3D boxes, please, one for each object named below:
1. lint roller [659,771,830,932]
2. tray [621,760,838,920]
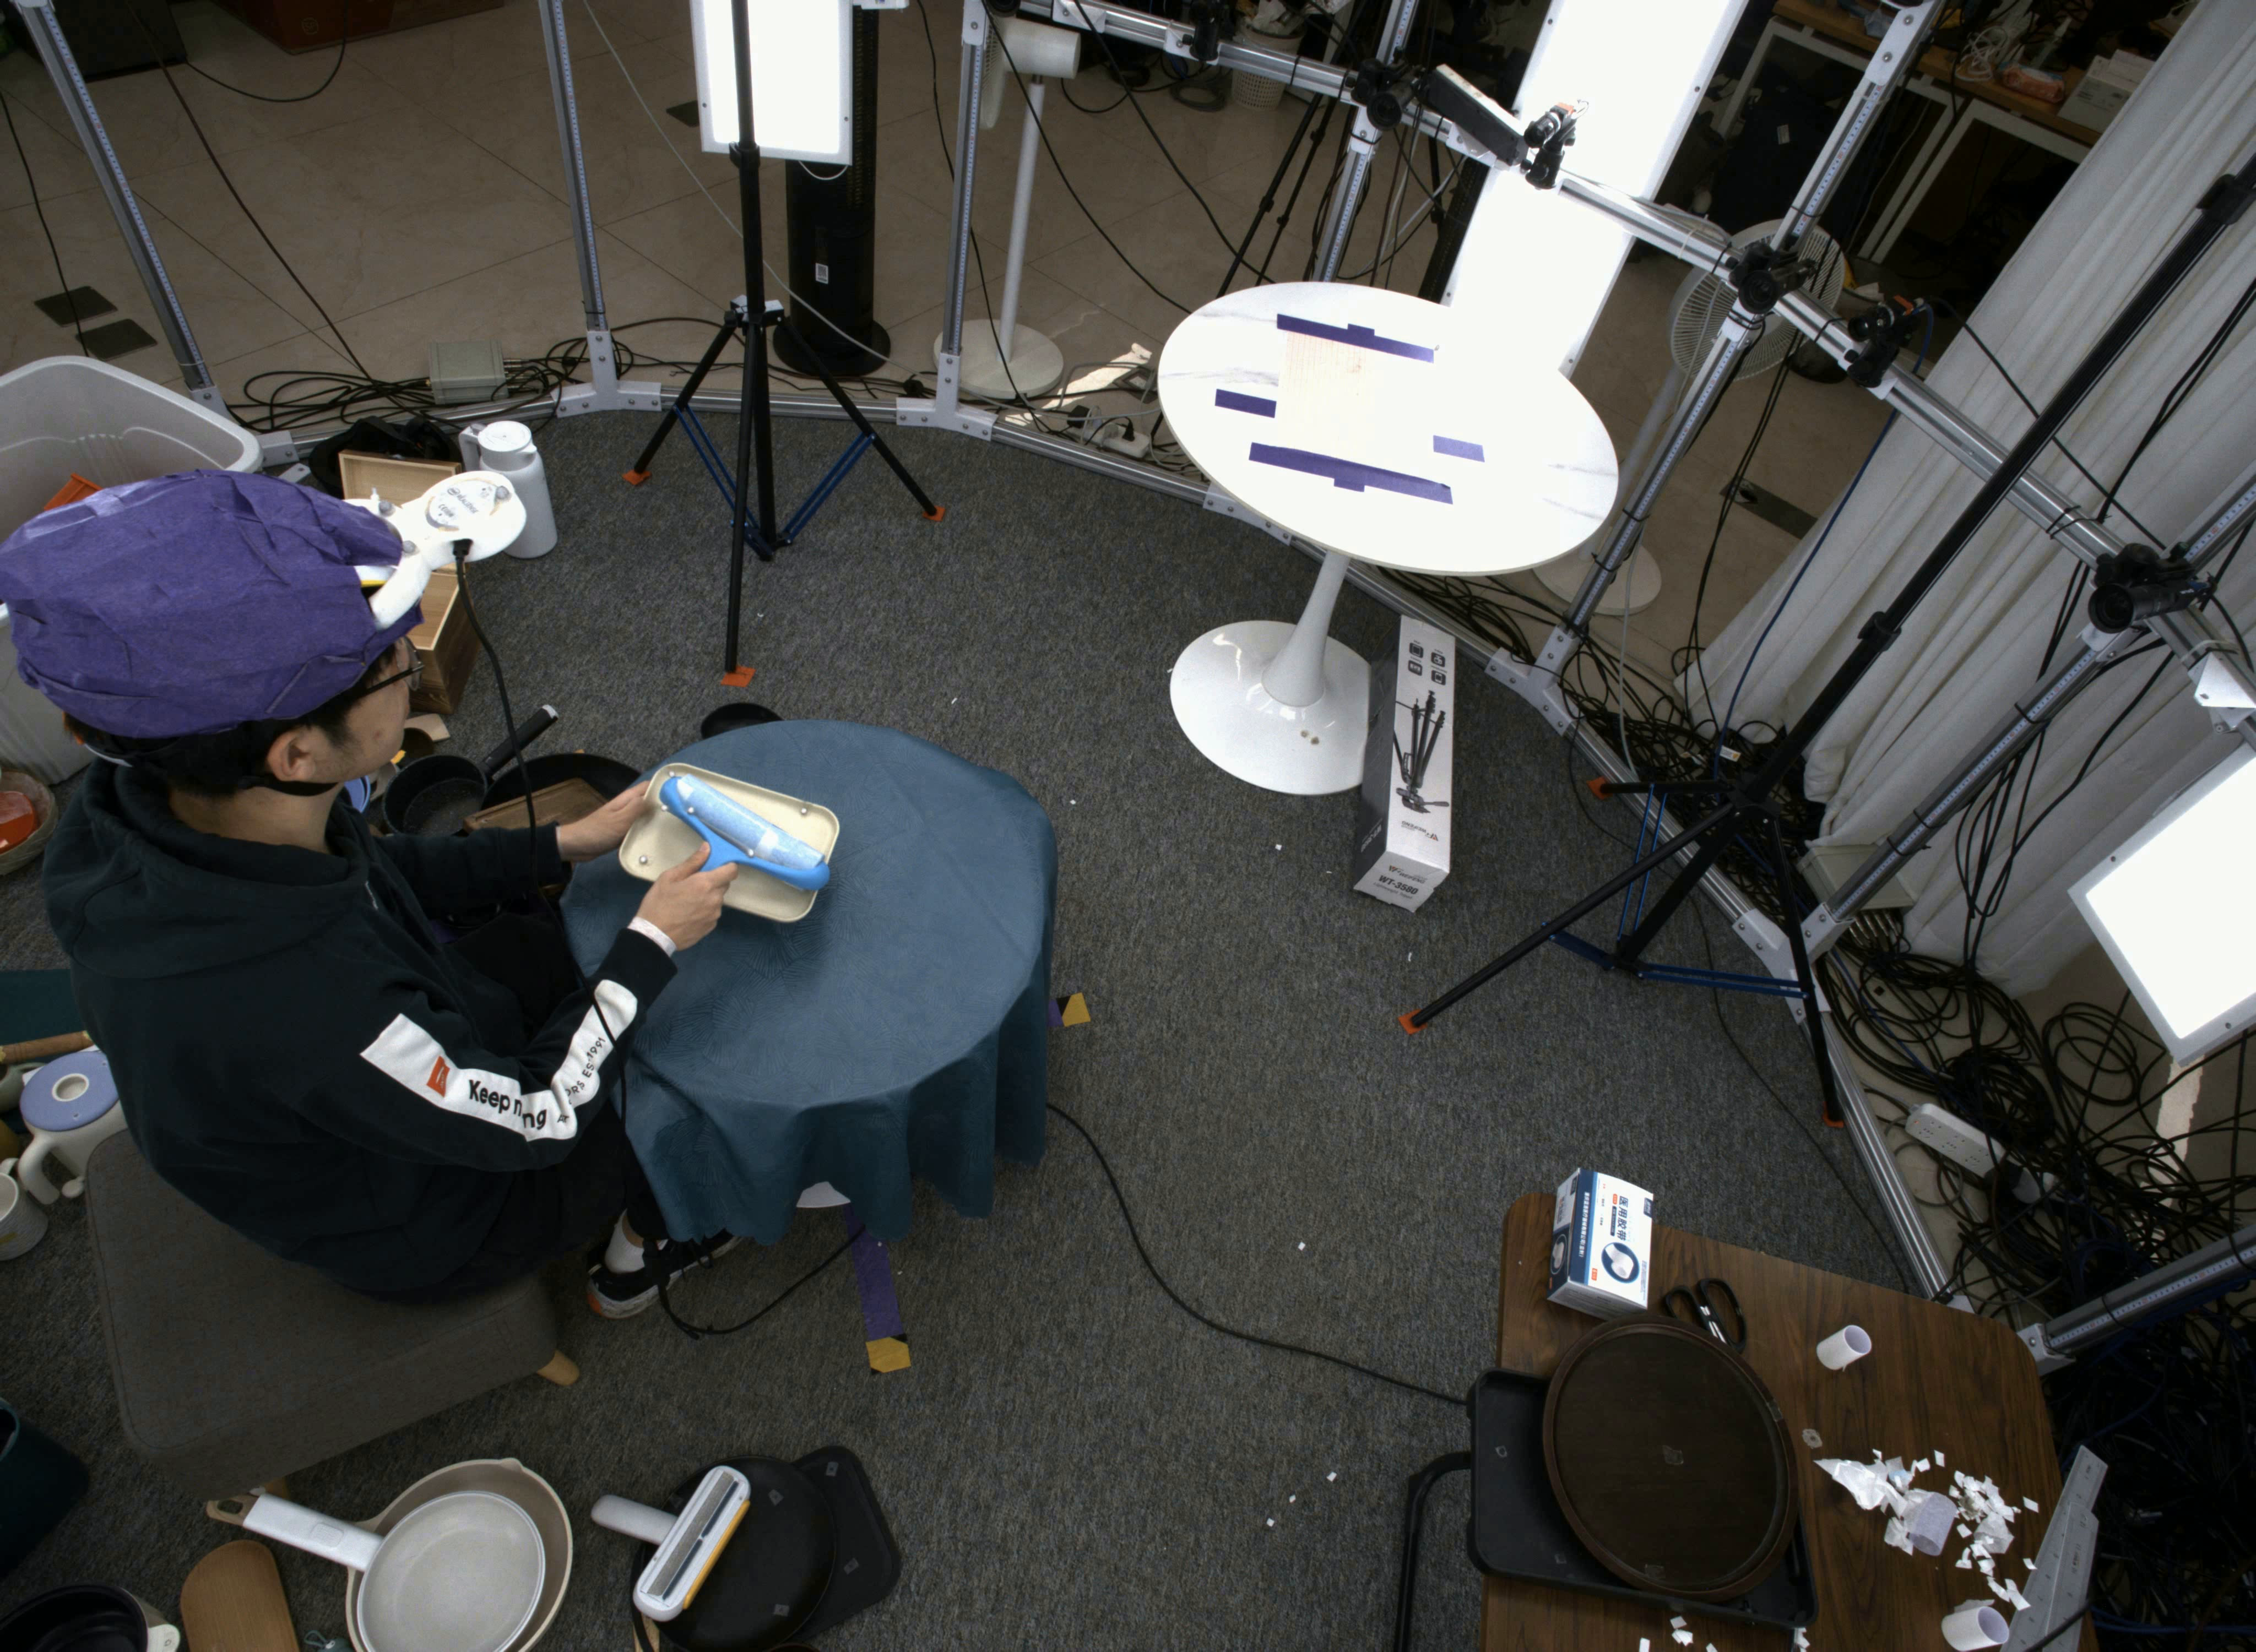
[{"bbox_3d":[-0.482,0.044,1.528,0.230,0.068,0.178,31,47,-9],"label":"lint roller"},{"bbox_3d":[-0.491,0.016,1.597,0.240,0.017,0.169,18,58,-11],"label":"tray"}]
